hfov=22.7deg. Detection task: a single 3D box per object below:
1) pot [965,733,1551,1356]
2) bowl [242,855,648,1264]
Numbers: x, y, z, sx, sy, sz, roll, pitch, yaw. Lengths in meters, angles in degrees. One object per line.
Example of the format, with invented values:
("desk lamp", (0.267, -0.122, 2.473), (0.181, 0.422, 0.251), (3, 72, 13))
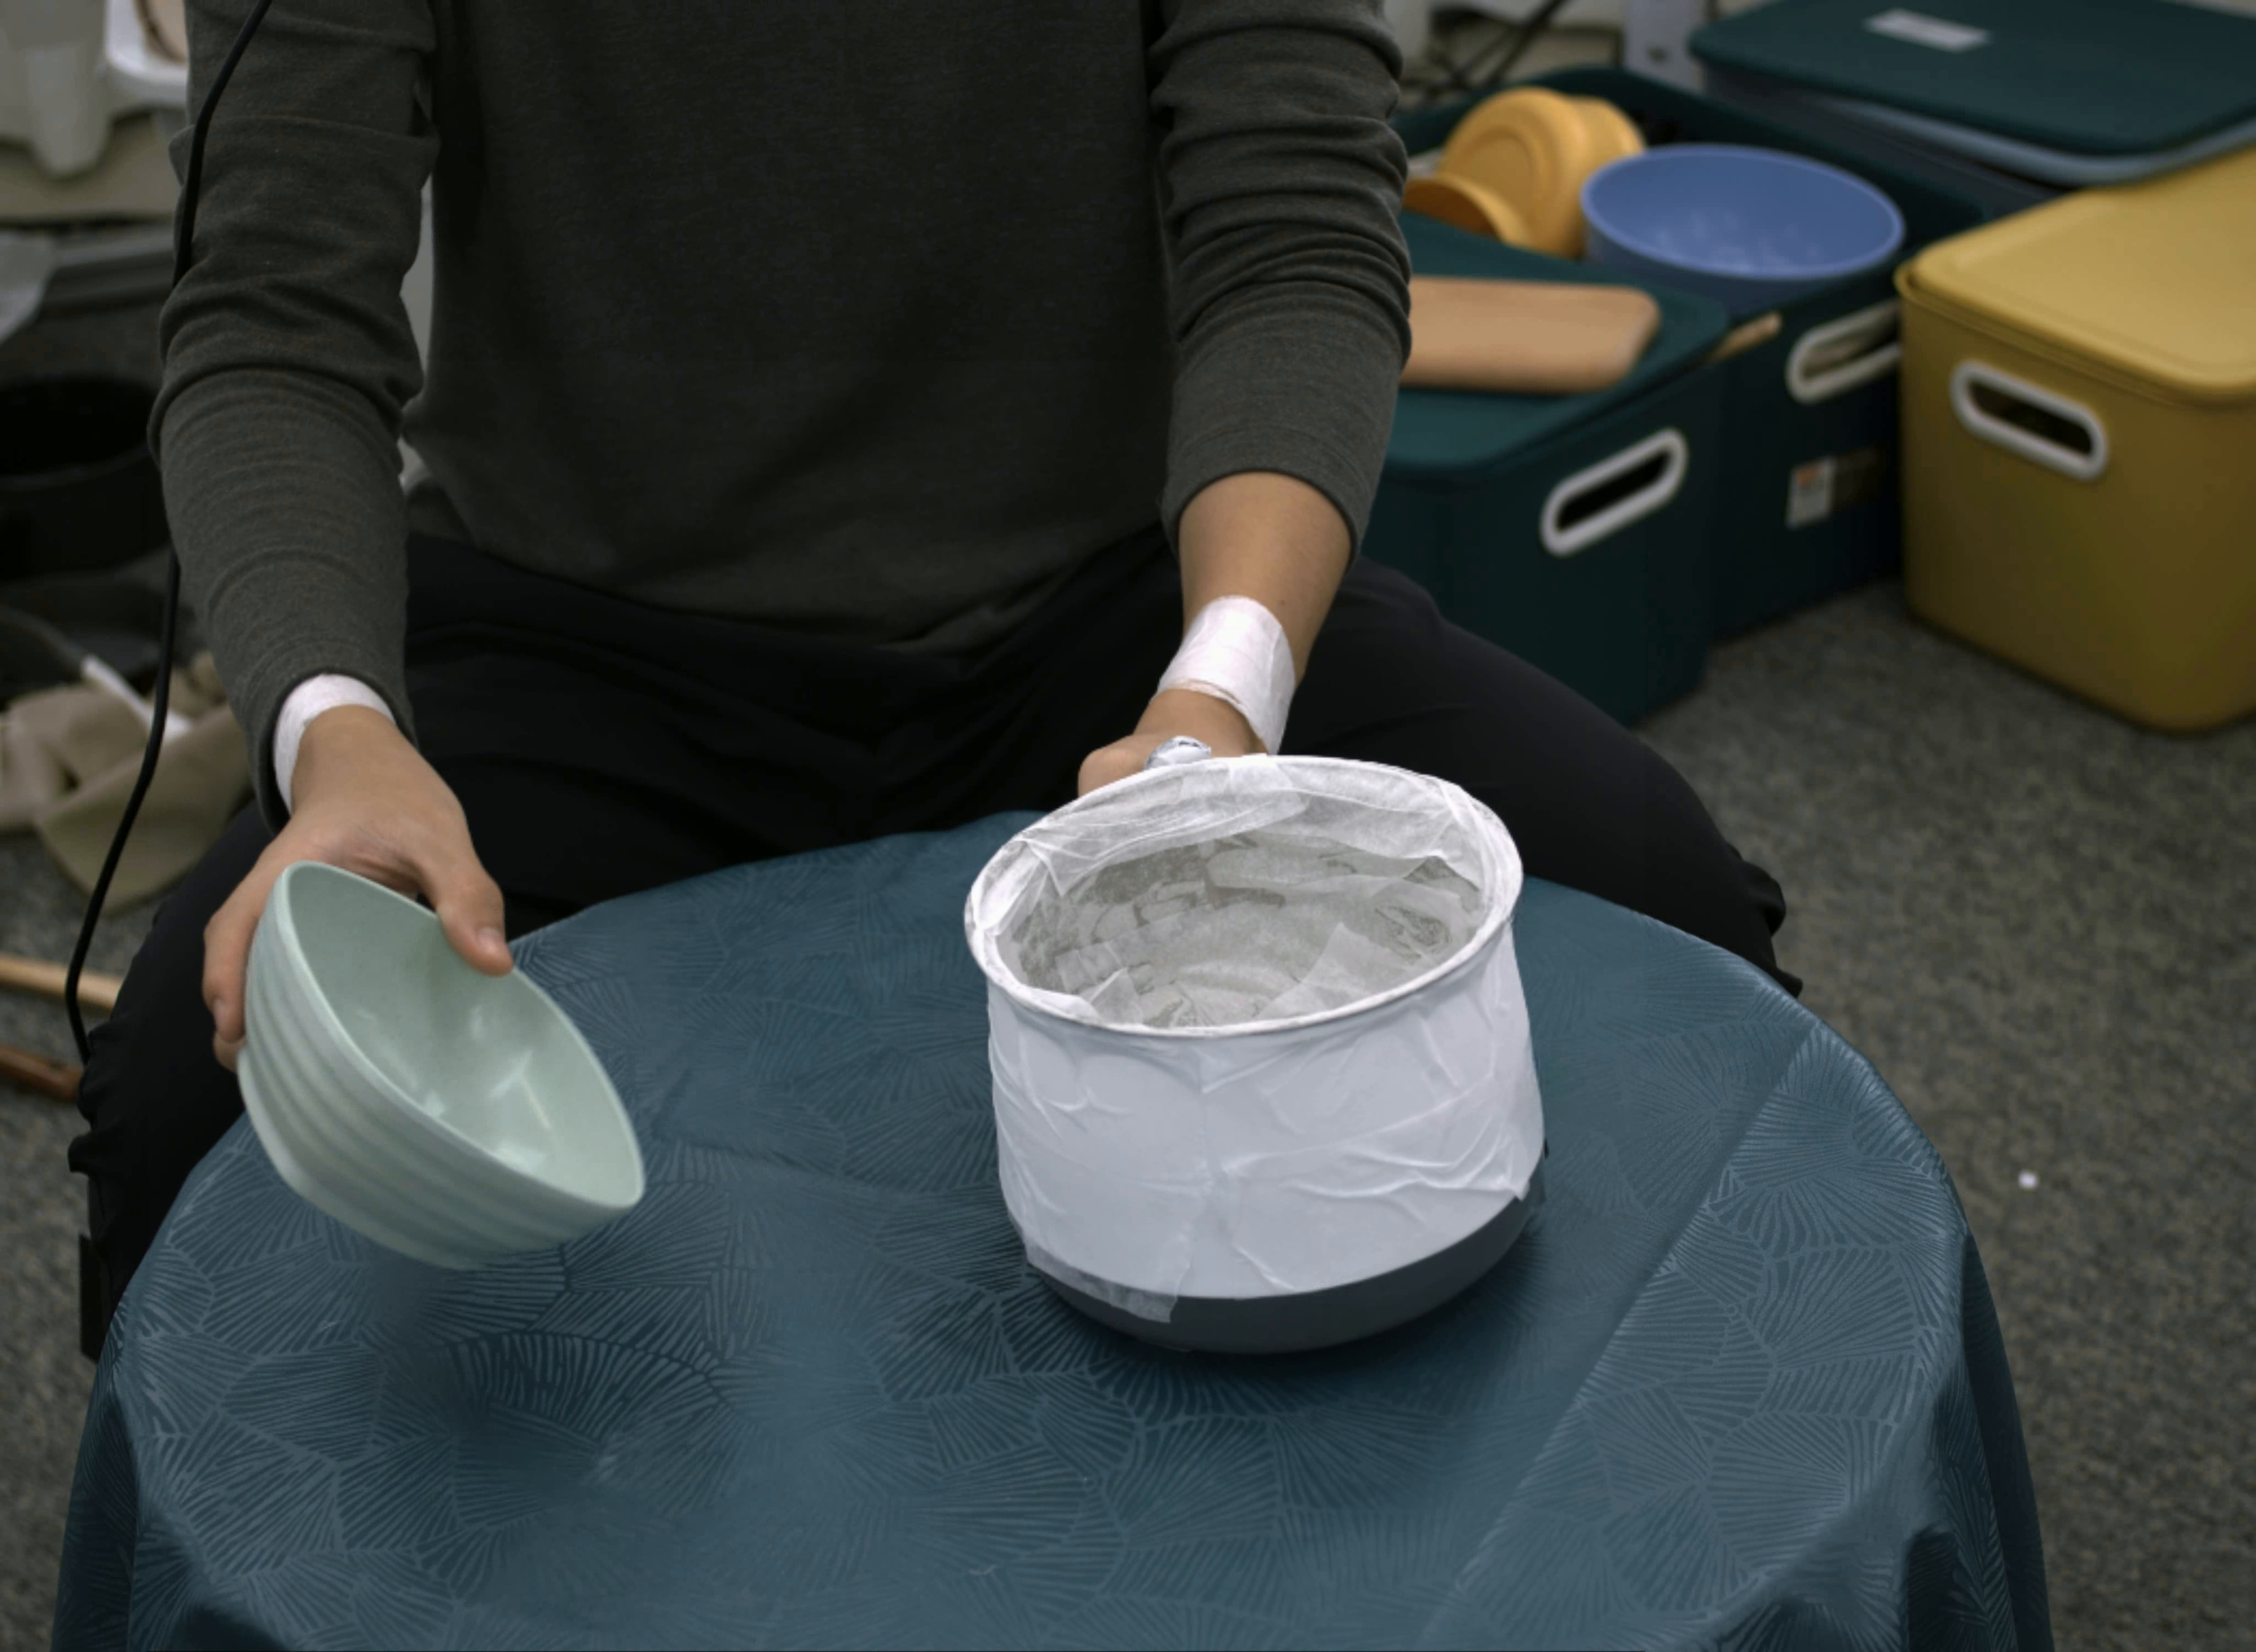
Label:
("pot", (0.038, 0.062, 1.820), (0.178, 0.135, 0.236), (-11, 28, -8))
("bowl", (-0.222, 0.082, 1.735), (0.151, 0.058, 0.153), (39, 17, -13))
